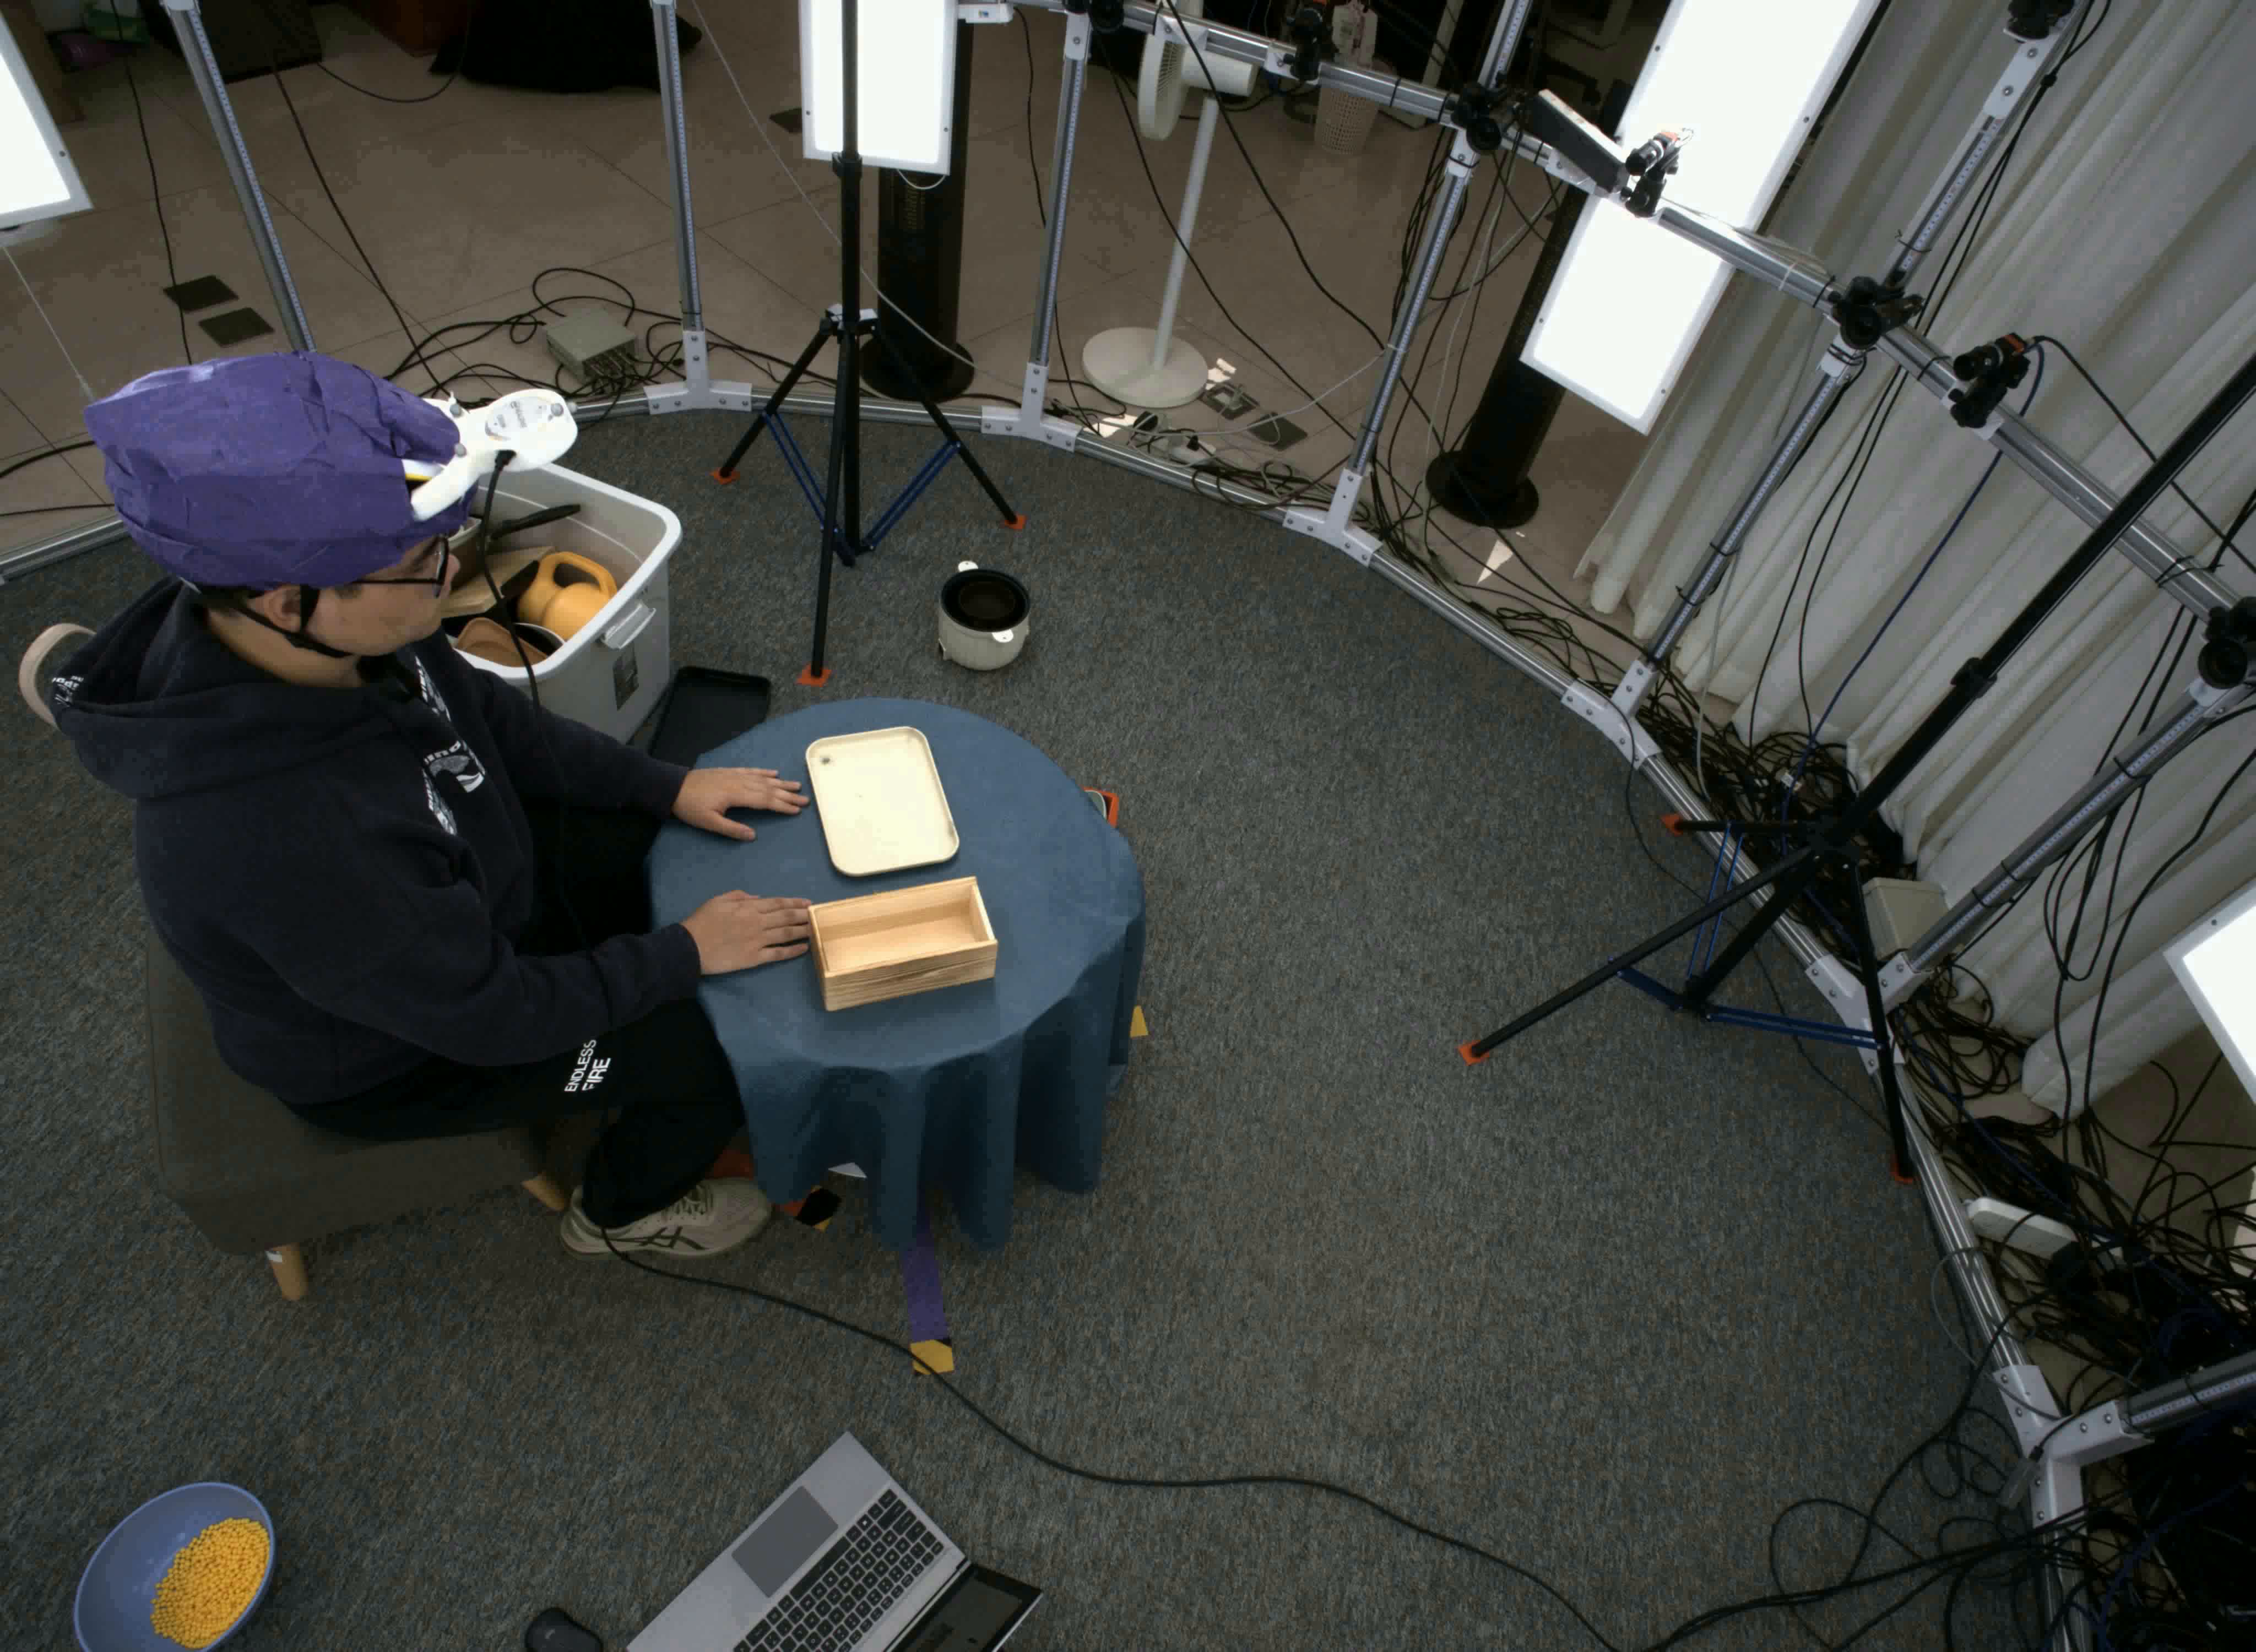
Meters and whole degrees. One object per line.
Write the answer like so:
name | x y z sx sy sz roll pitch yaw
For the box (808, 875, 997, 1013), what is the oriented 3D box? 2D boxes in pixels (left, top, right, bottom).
box | -0.277 0.141 1.600 0.212 0.082 0.105 -11 56 -21

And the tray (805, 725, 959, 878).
tray | -0.334 -0.036 1.758 0.172 0.018 0.234 -10 57 -20
